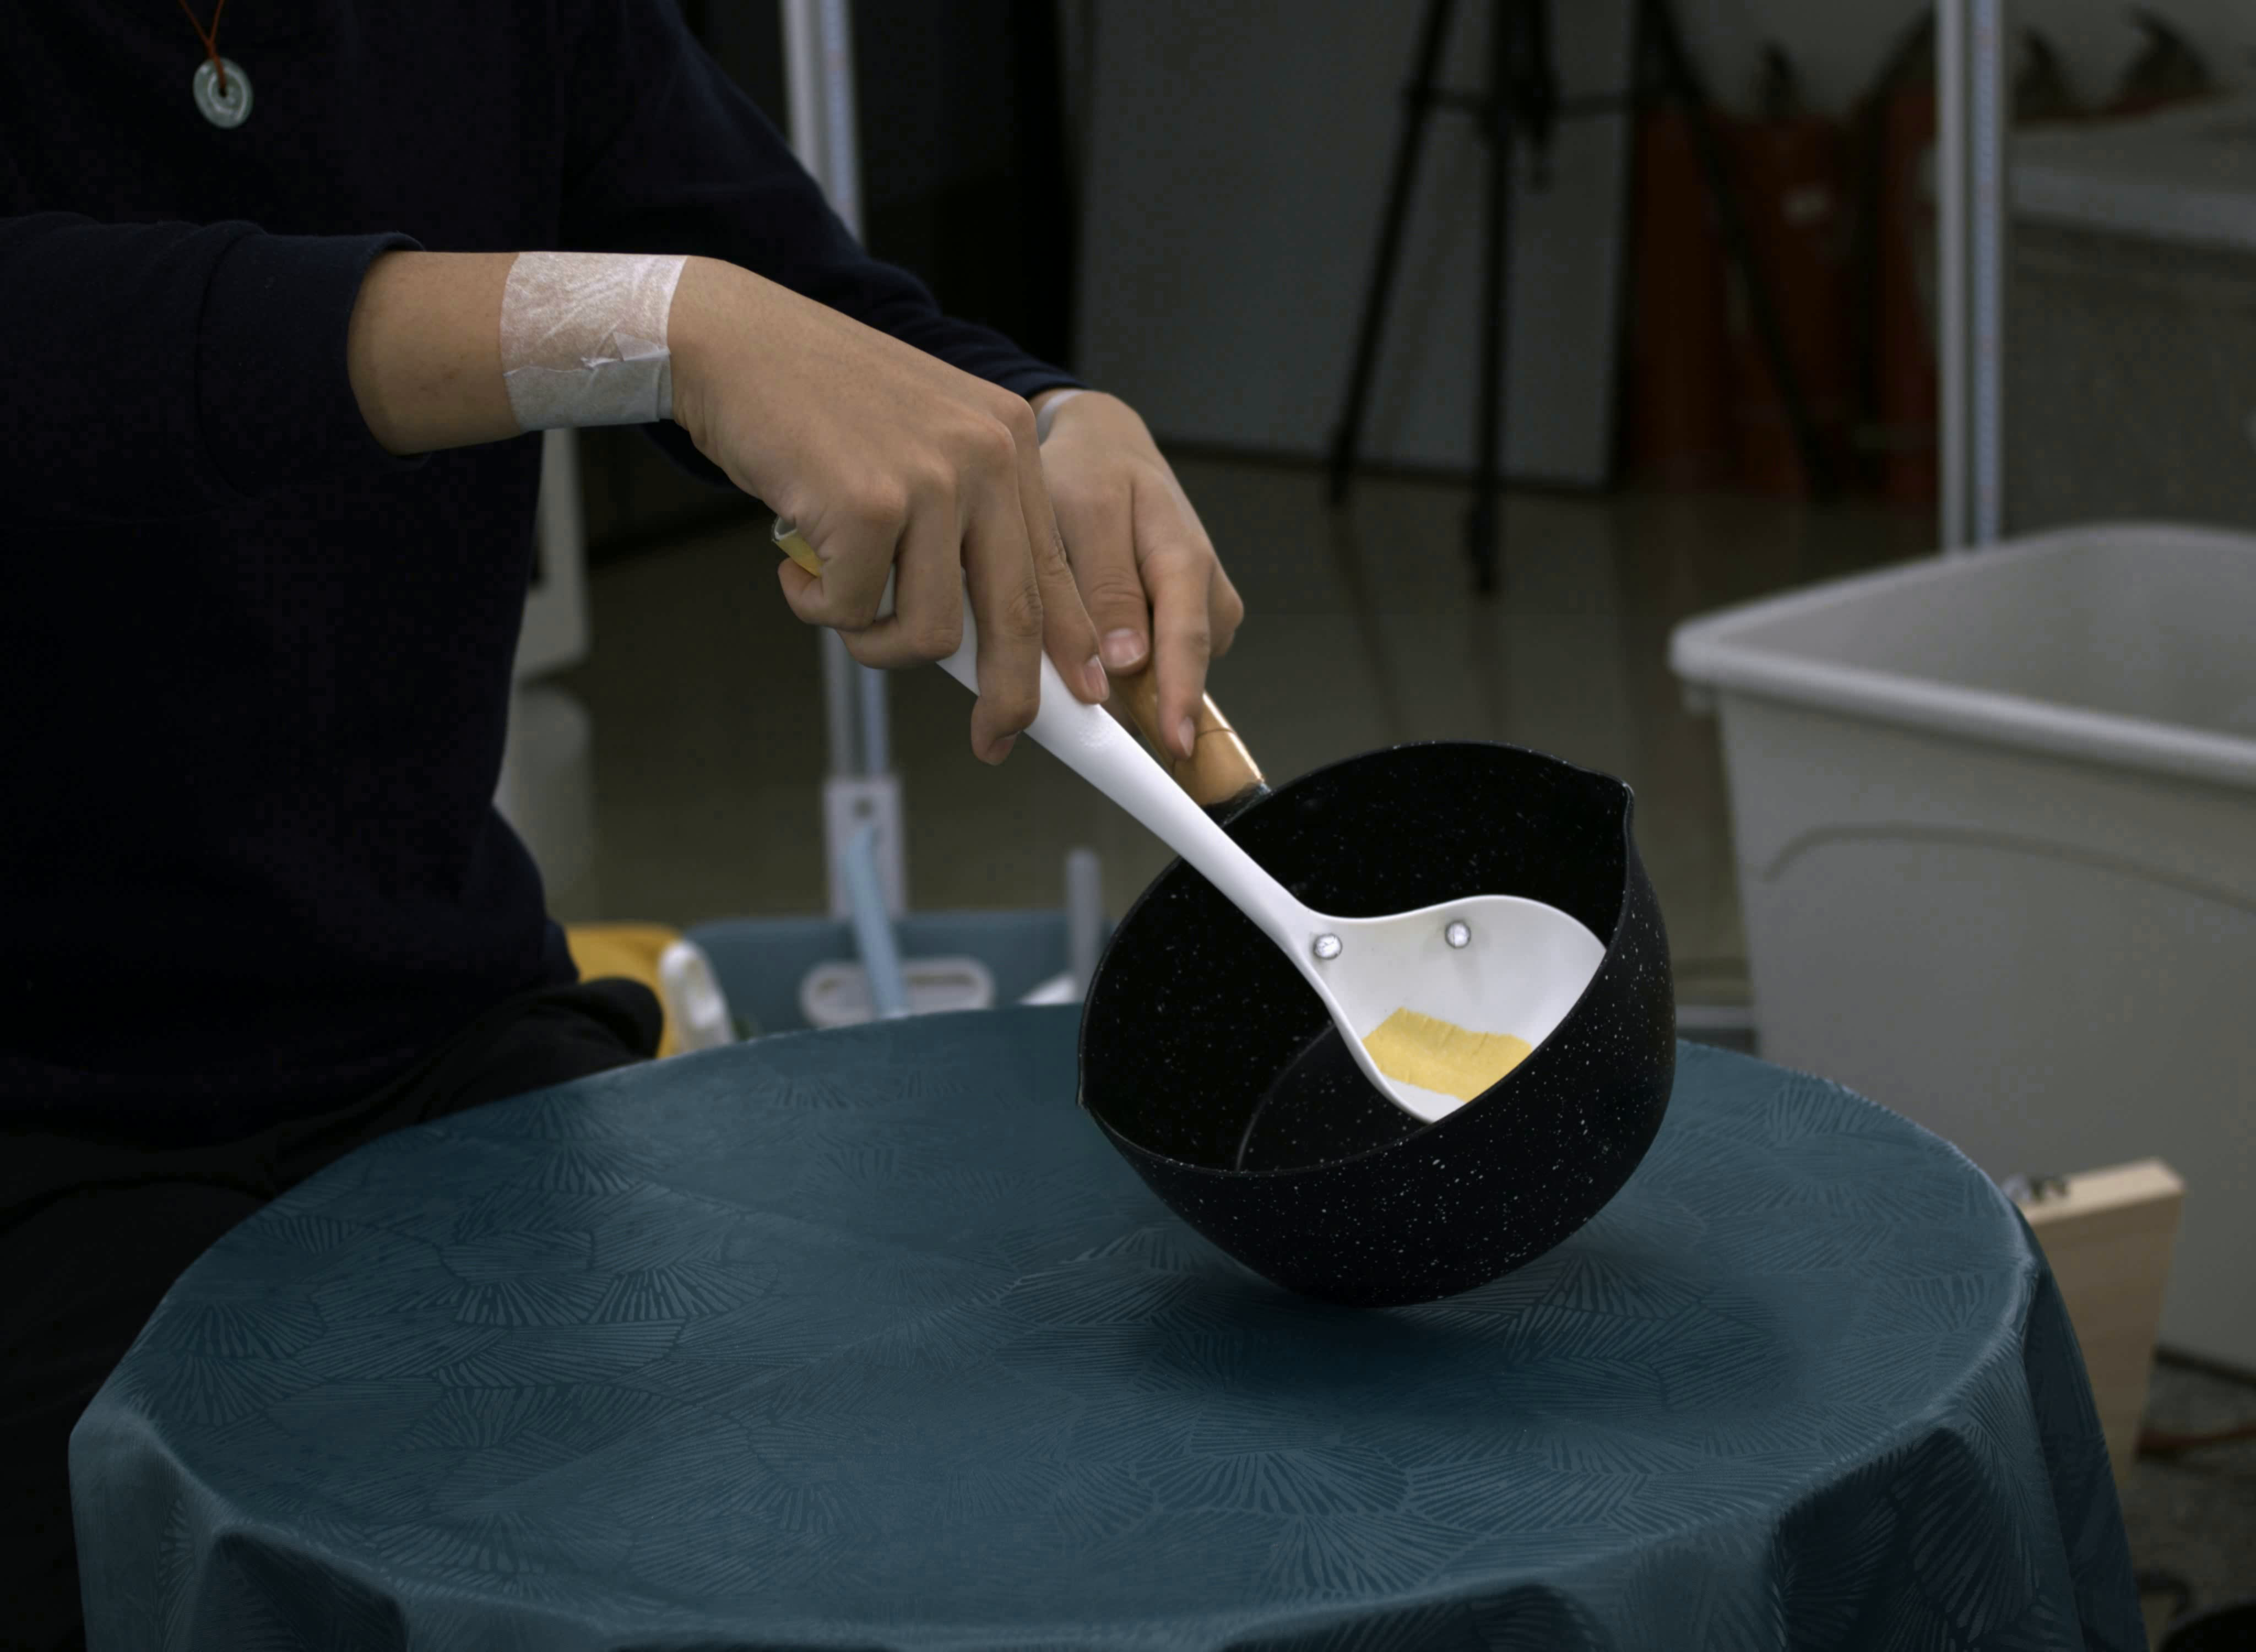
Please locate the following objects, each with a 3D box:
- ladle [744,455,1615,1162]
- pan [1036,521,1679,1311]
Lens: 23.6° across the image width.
[{"bbox_3d":[0.014,-0.009,1.581,0.090,0.290,0.070,-57,16,-25],"label":"ladle"},{"bbox_3d":[0.052,0.019,1.722,0.206,0.107,0.347,-34,36,-2],"label":"pan"}]
